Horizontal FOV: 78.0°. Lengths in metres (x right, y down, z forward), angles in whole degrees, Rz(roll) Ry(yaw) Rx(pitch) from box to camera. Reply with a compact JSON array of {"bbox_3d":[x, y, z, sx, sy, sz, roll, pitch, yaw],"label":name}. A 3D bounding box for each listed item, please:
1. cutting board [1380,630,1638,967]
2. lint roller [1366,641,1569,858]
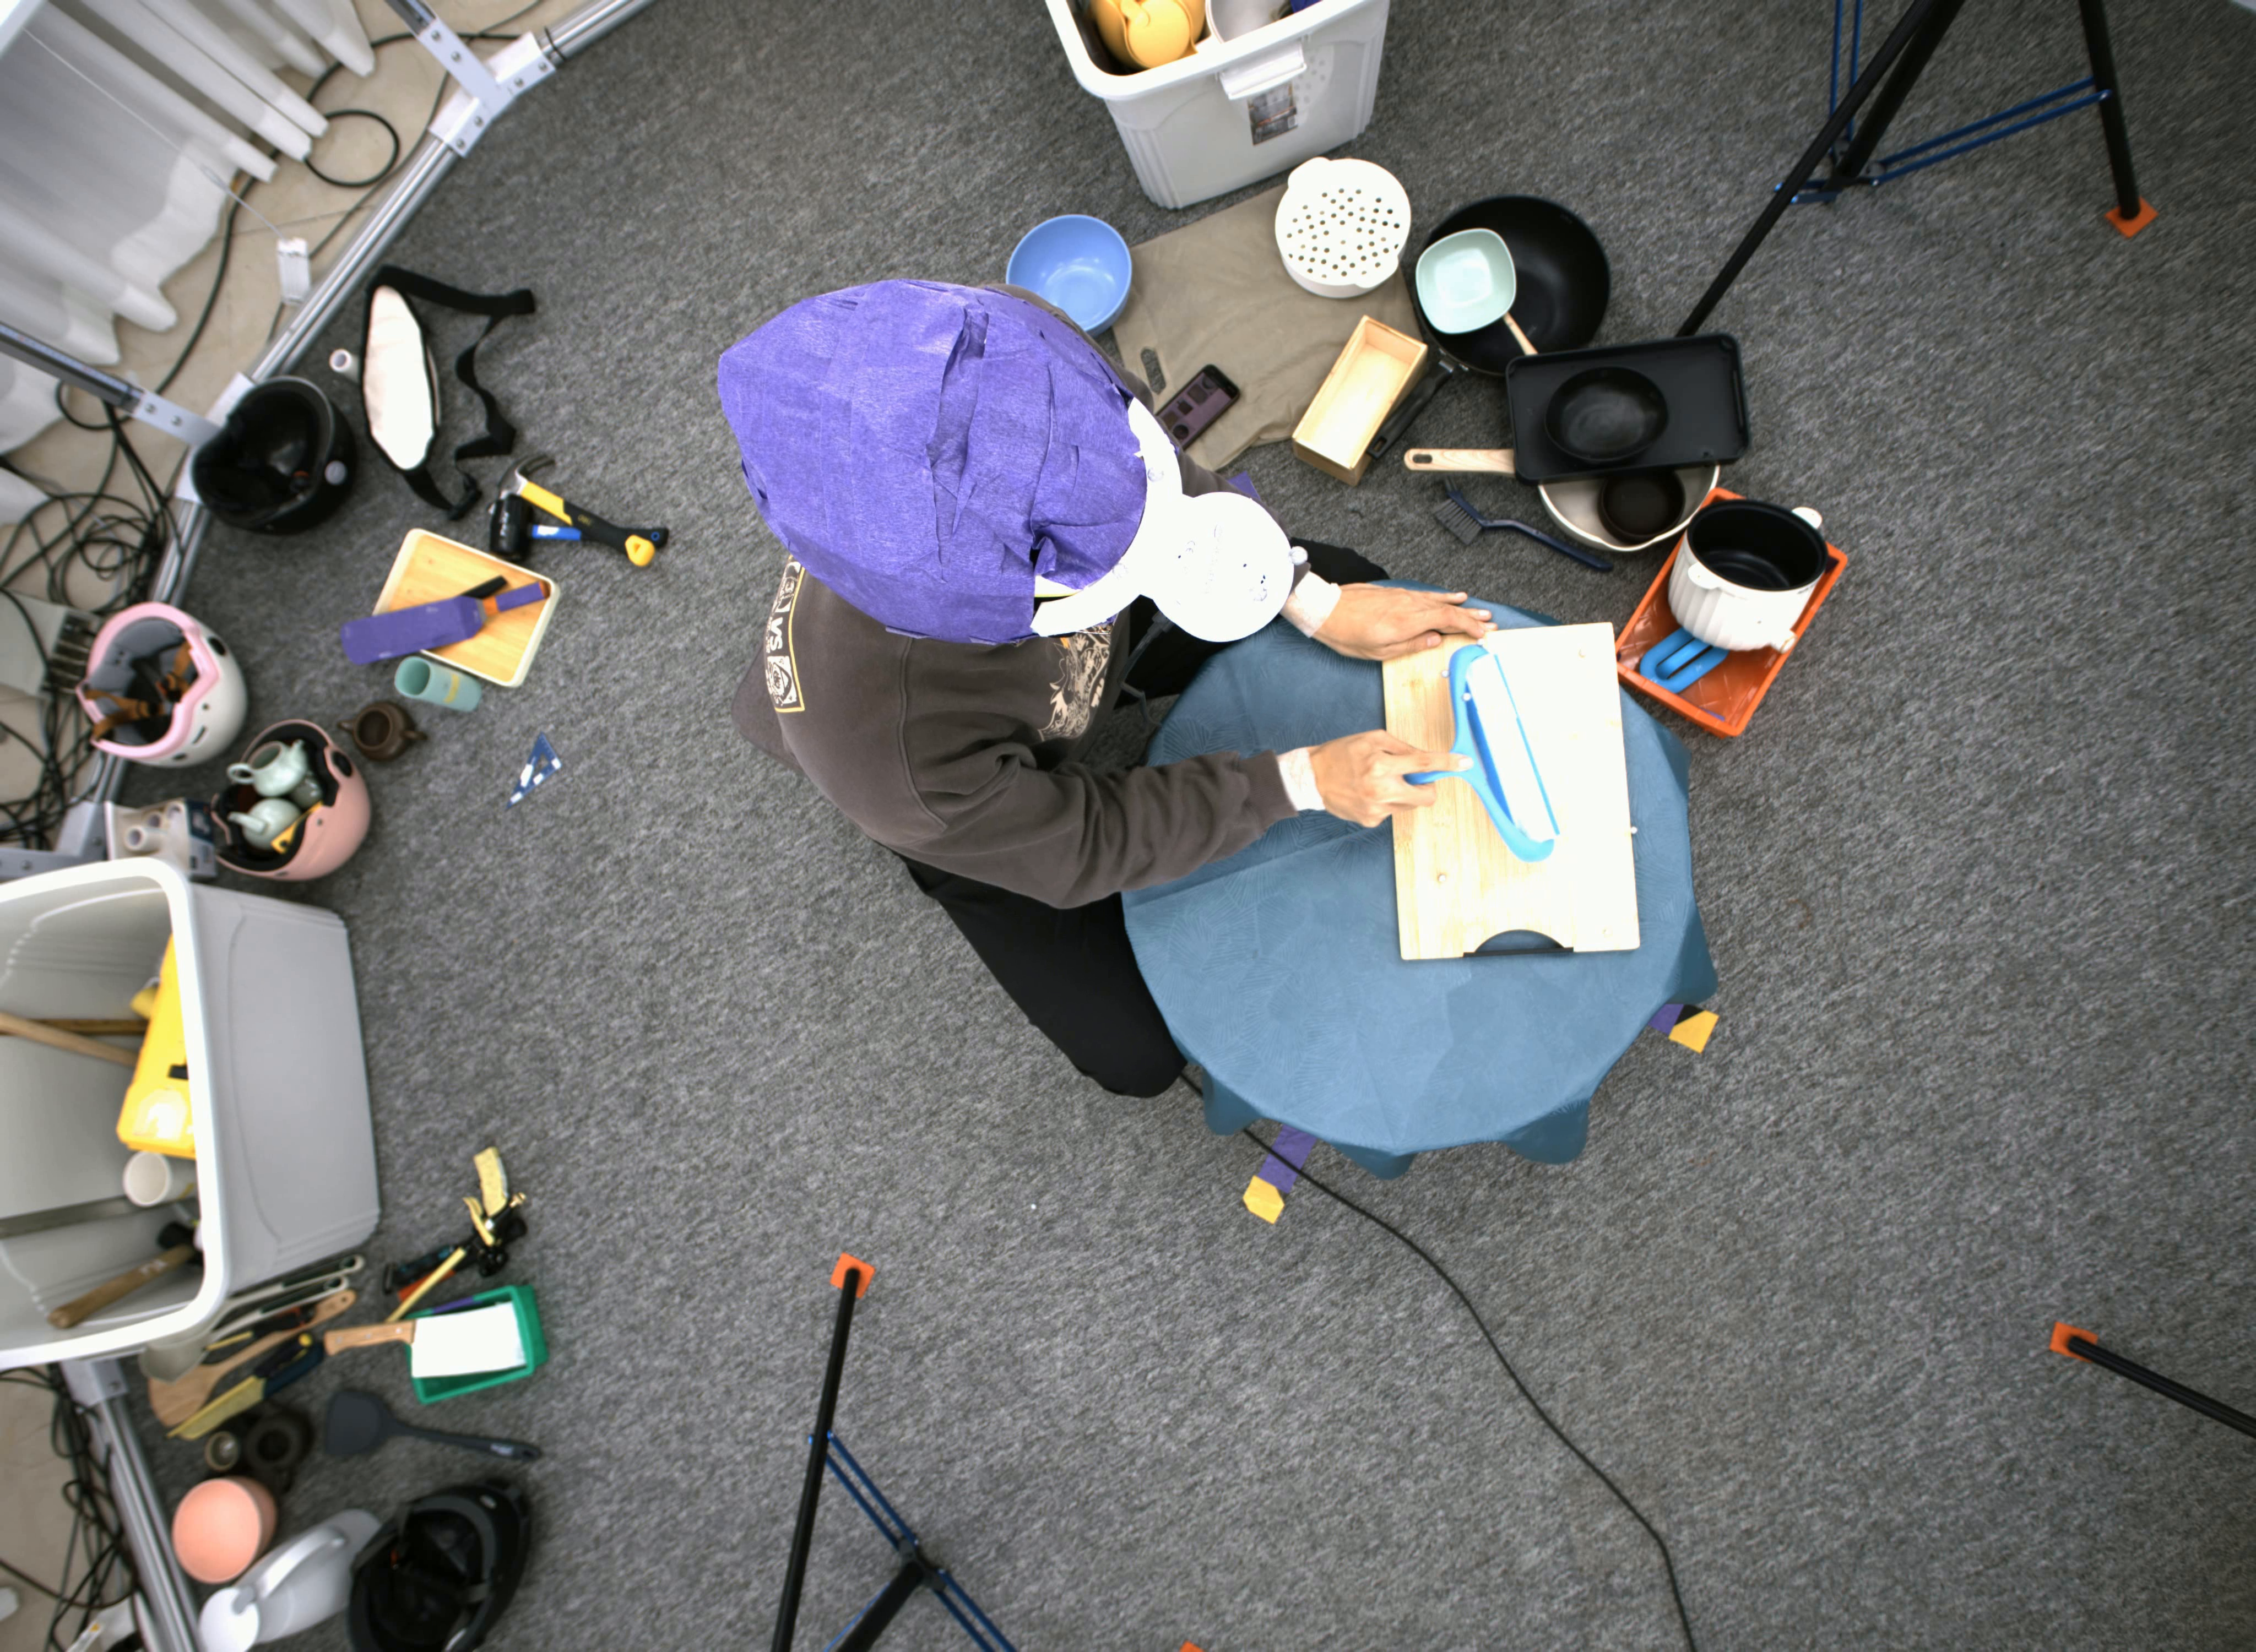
[{"bbox_3d":[0.394,-0.033,1.432,0.252,0.023,0.347,-4,86,11],"label":"cutting board"},{"bbox_3d":[0.327,-0.059,1.357,0.179,0.068,0.228,-21,88,-11],"label":"lint roller"}]
